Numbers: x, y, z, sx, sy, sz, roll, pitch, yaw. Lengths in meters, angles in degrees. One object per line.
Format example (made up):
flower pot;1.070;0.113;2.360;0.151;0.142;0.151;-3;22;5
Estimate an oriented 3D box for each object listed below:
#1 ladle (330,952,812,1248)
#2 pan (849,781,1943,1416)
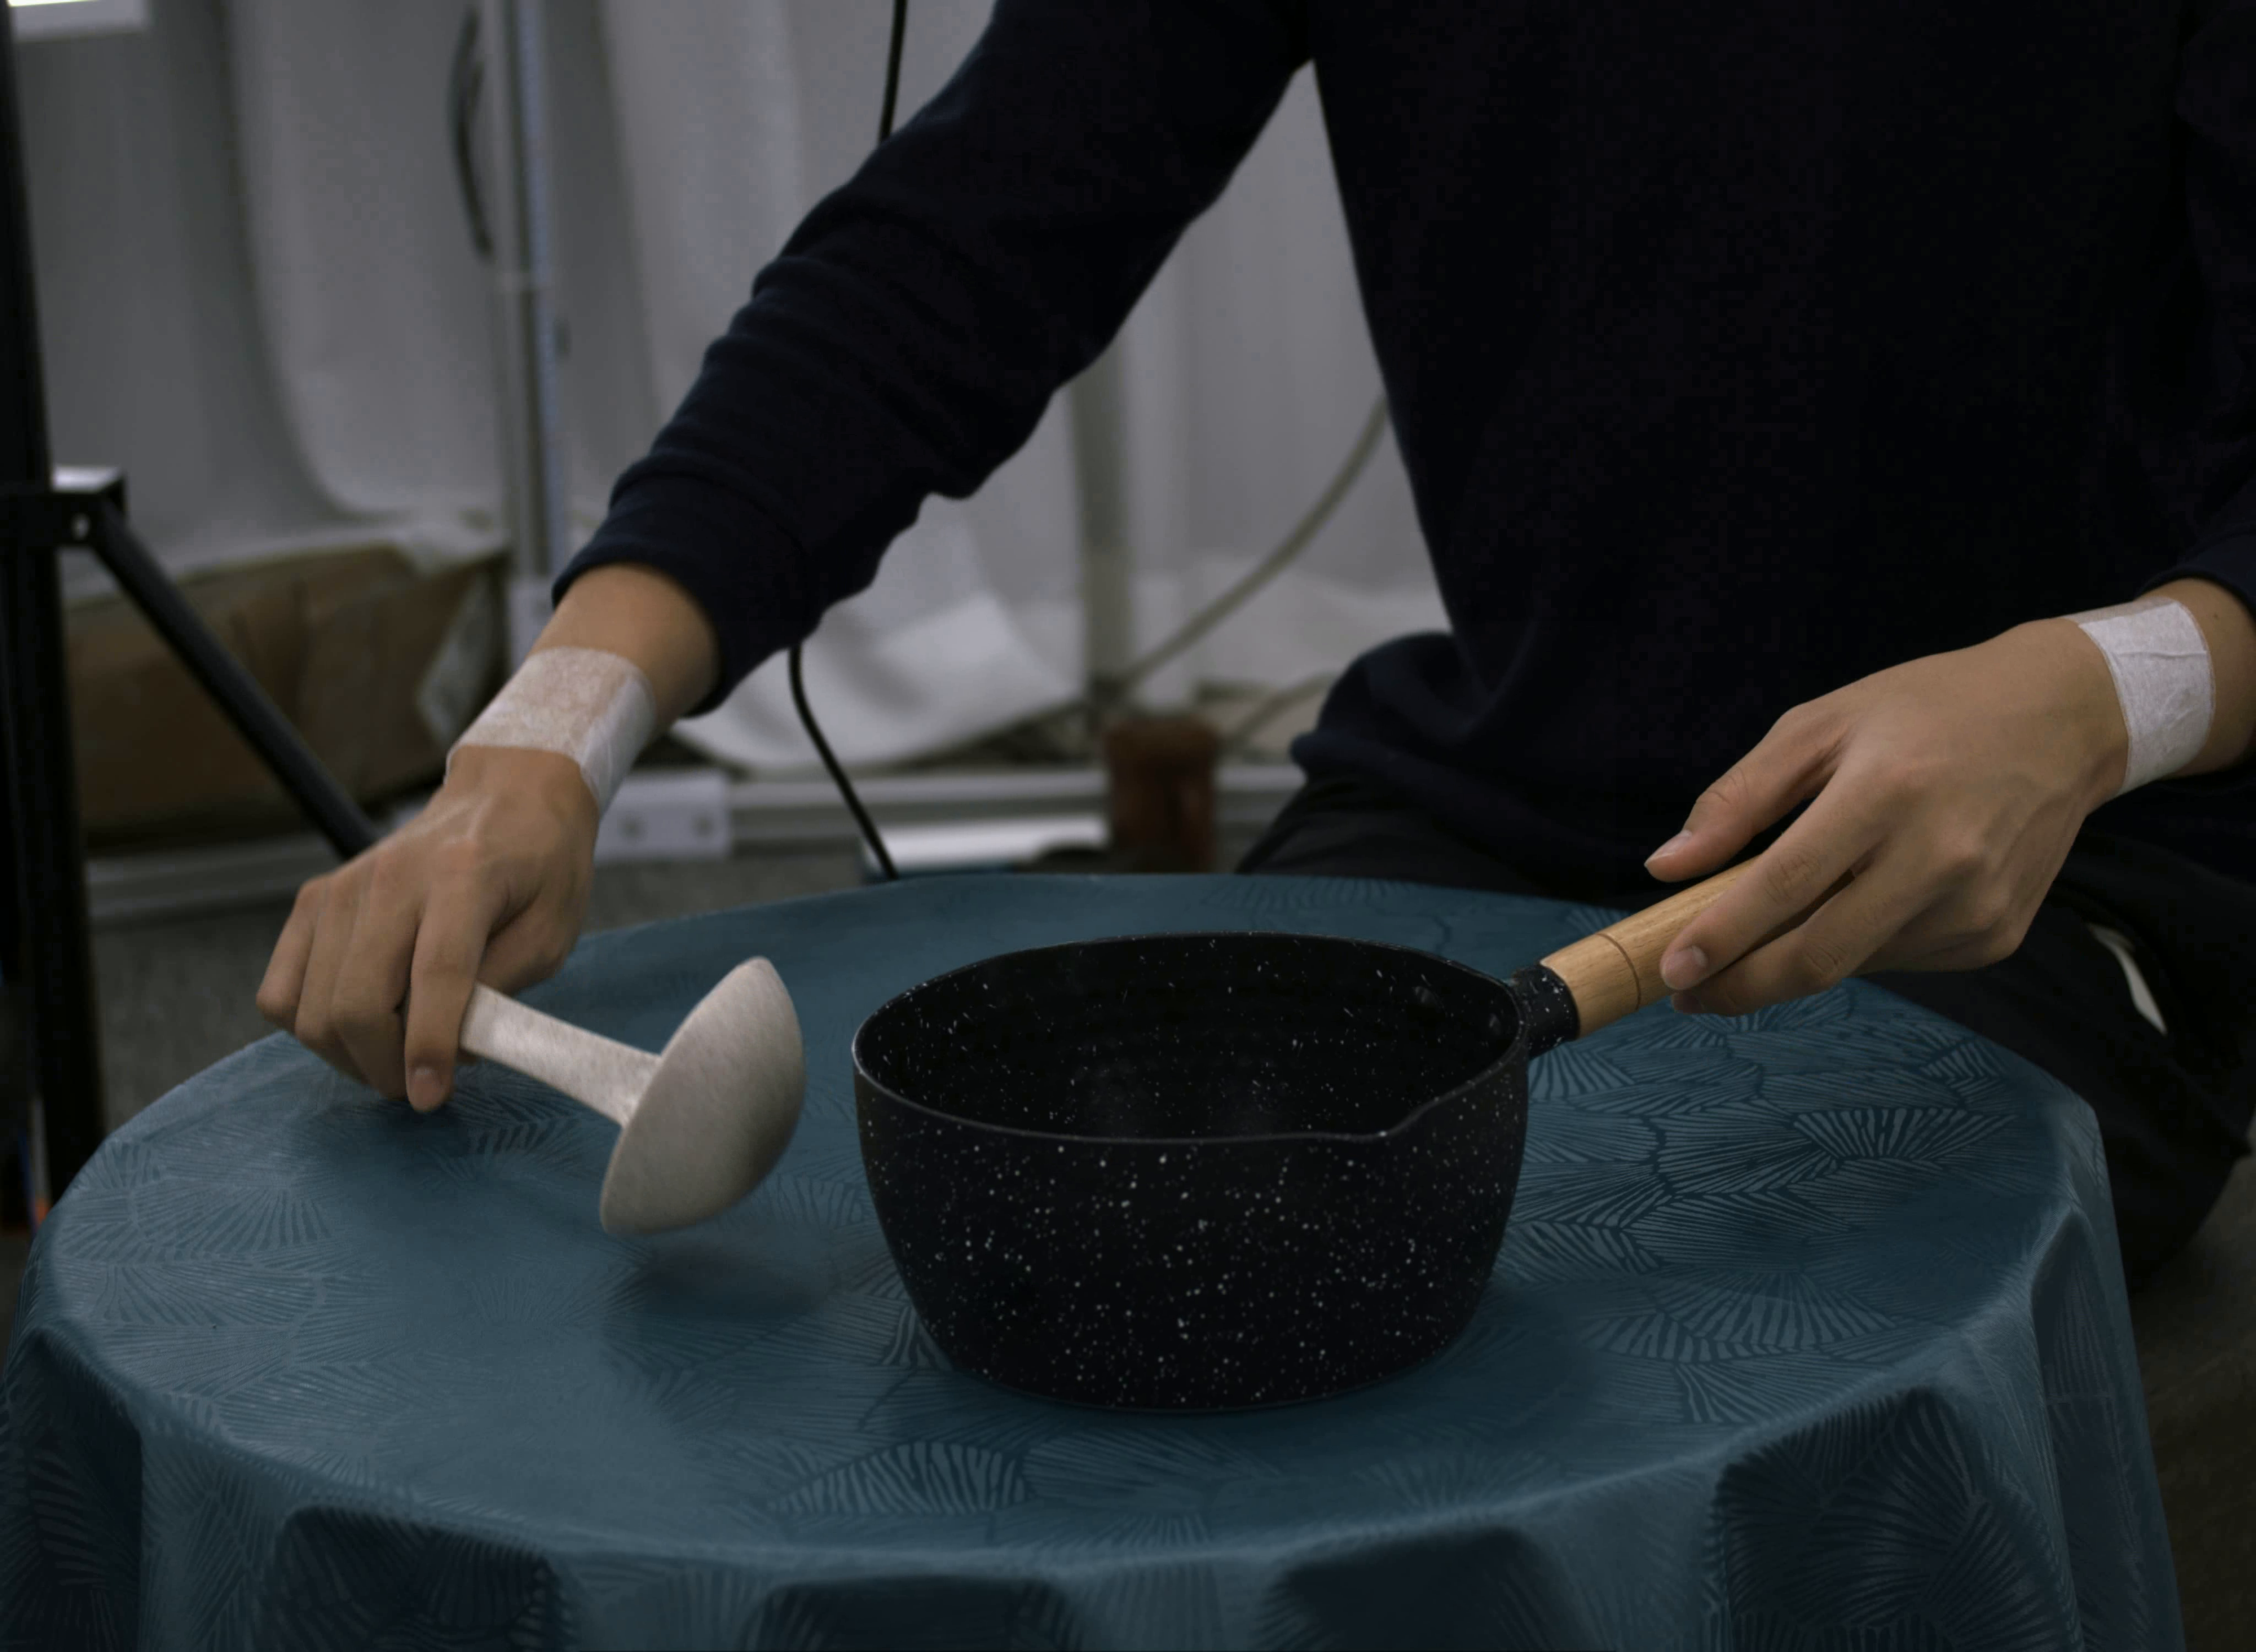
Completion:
ladle;-0.188;0.059;1.589;0.067;0.089;0.281;31;-9;-39
pan;0.086;0.070;1.478;0.335;0.108;0.212;-13;17;-27
